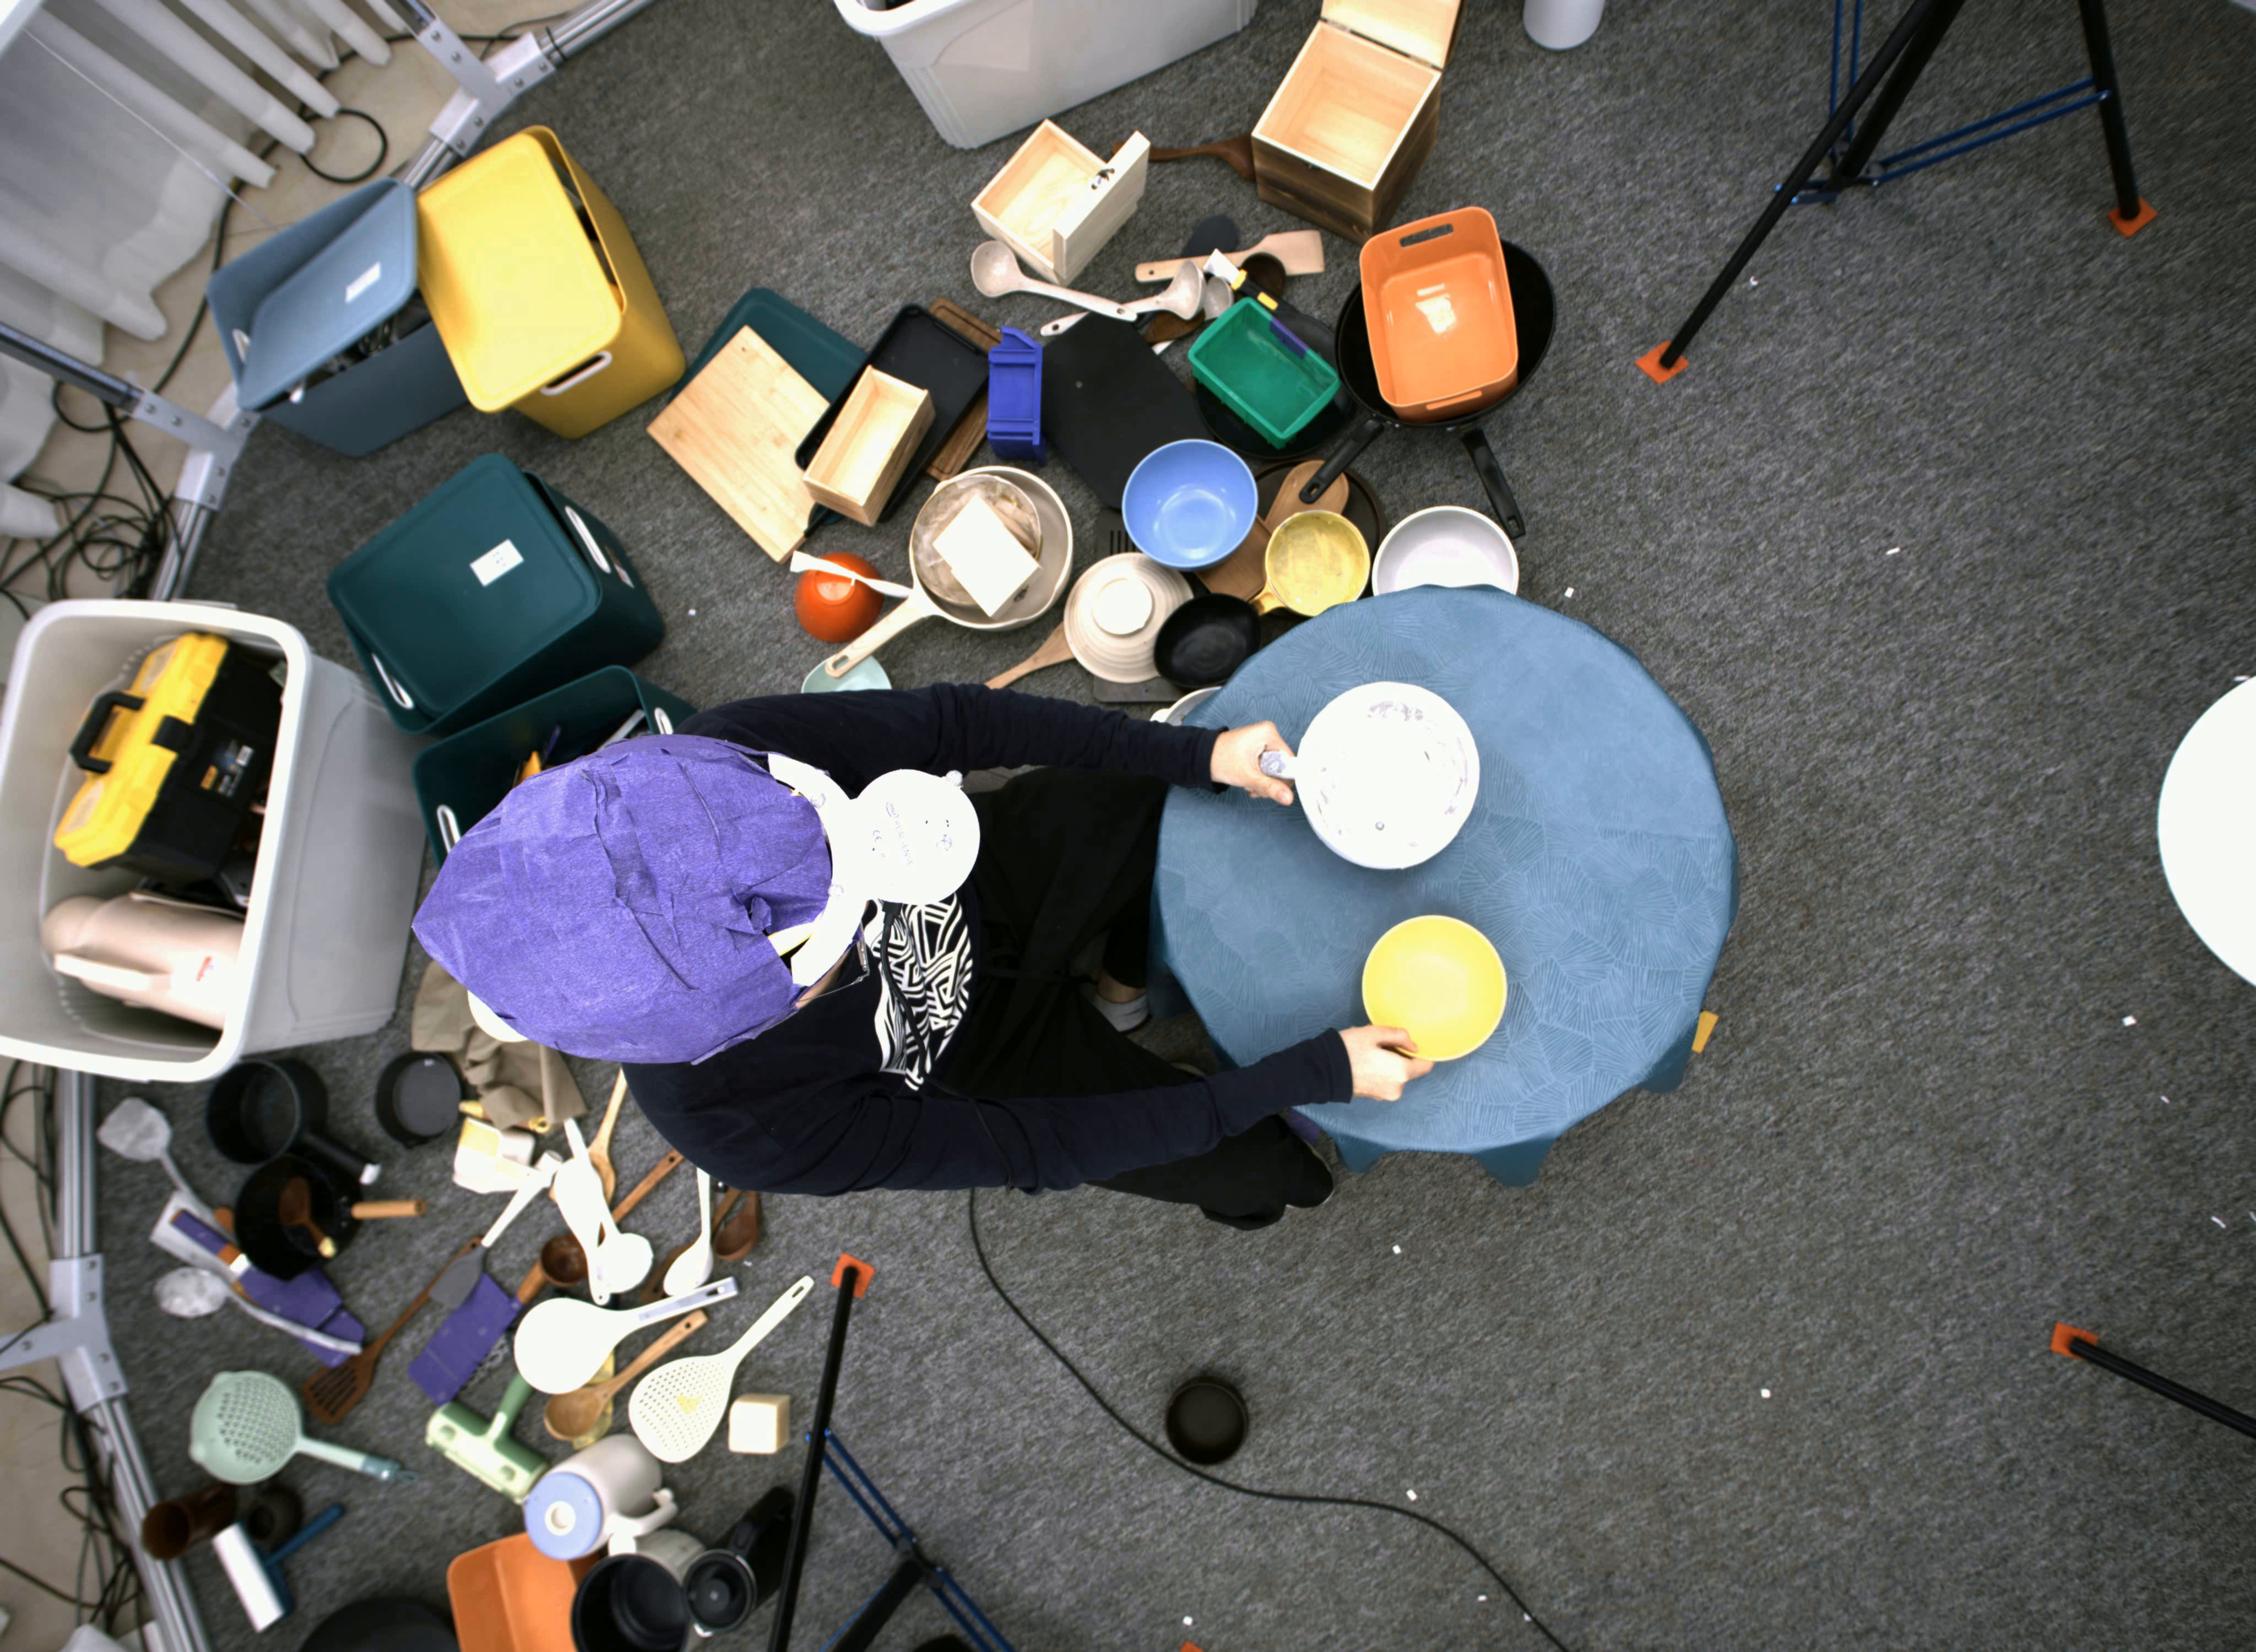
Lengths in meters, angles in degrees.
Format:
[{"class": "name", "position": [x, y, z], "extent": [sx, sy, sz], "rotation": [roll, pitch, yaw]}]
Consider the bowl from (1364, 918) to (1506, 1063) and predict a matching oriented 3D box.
[{"class": "bowl", "position": [0.307, 0.166, 1.407], "extent": [0.145, 0.060, 0.144], "rotation": [0, 84, 0]}]

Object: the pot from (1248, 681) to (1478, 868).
[{"class": "pot", "position": [0.235, -0.051, 1.406], "extent": [0.234, 0.136, 0.178], "rotation": [5, 87, 12]}]
